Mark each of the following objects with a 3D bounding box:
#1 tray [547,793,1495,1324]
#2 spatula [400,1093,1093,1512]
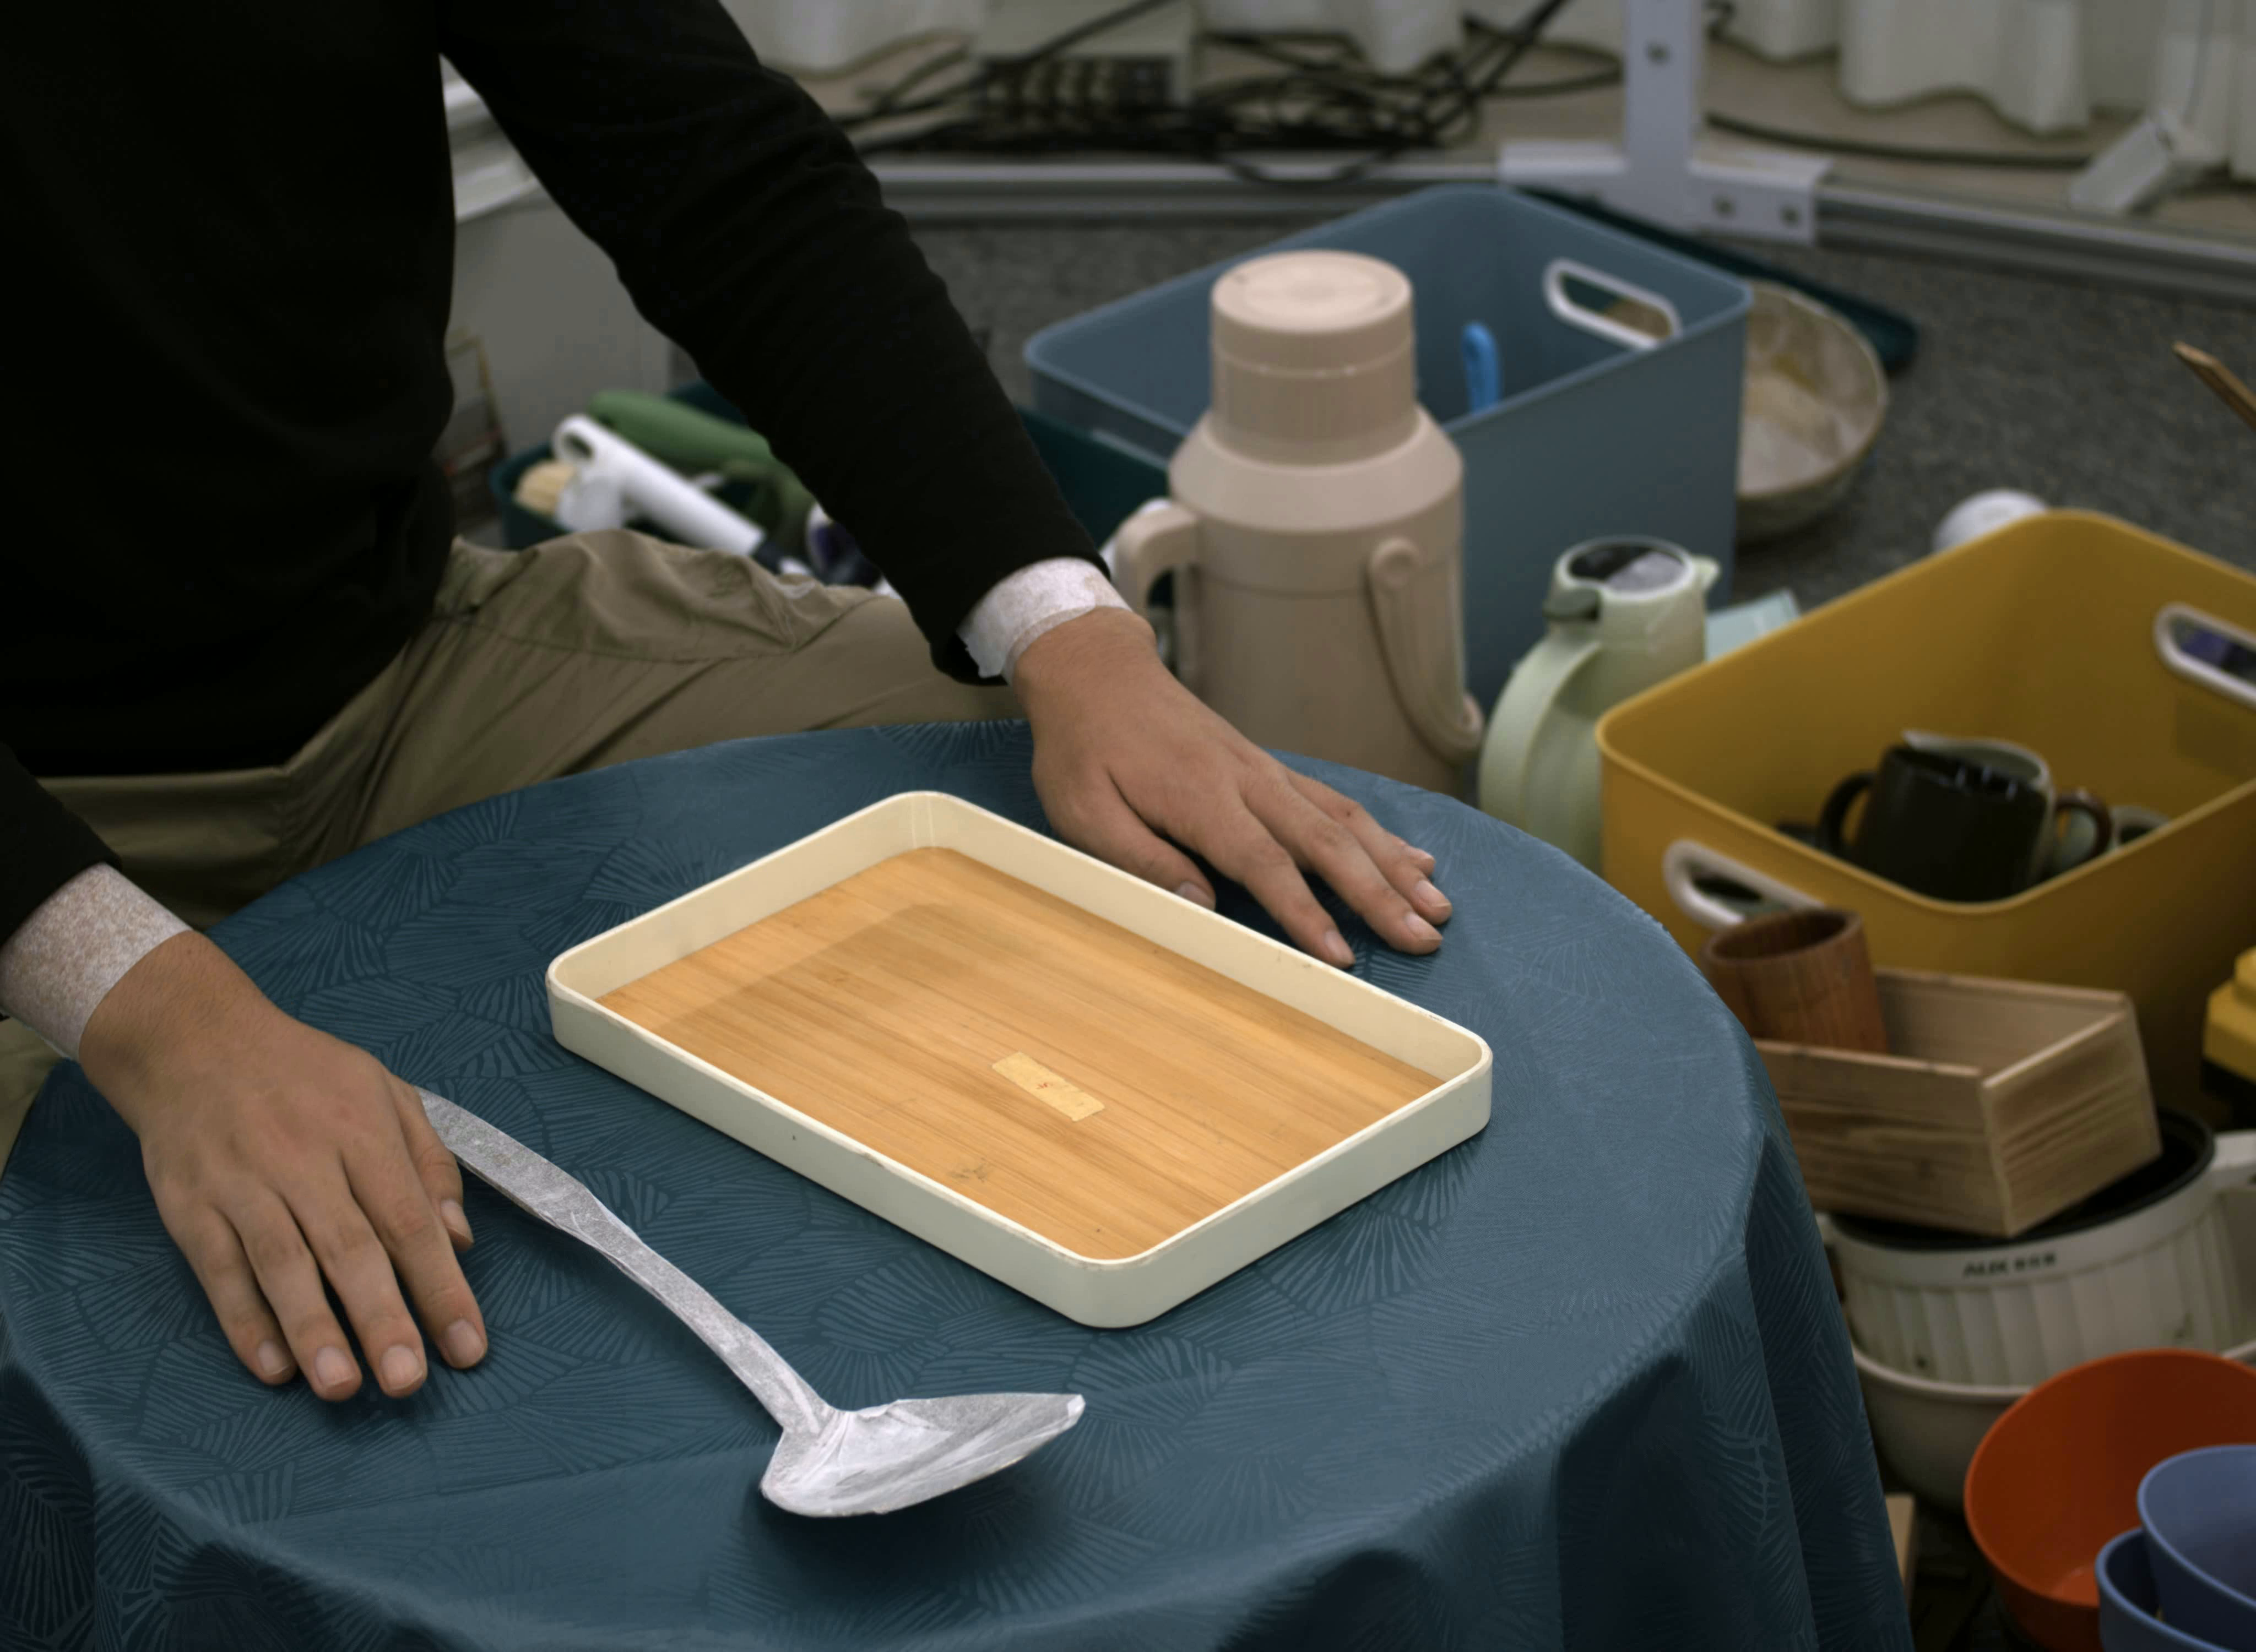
[{"bbox_3d":[-0.040,0.074,1.927,0.194,0.027,0.300,-25,35,-36],"label":"tray"},{"bbox_3d":[-0.145,0.143,1.793,0.099,0.044,0.365,-21,33,-30],"label":"spatula"}]
